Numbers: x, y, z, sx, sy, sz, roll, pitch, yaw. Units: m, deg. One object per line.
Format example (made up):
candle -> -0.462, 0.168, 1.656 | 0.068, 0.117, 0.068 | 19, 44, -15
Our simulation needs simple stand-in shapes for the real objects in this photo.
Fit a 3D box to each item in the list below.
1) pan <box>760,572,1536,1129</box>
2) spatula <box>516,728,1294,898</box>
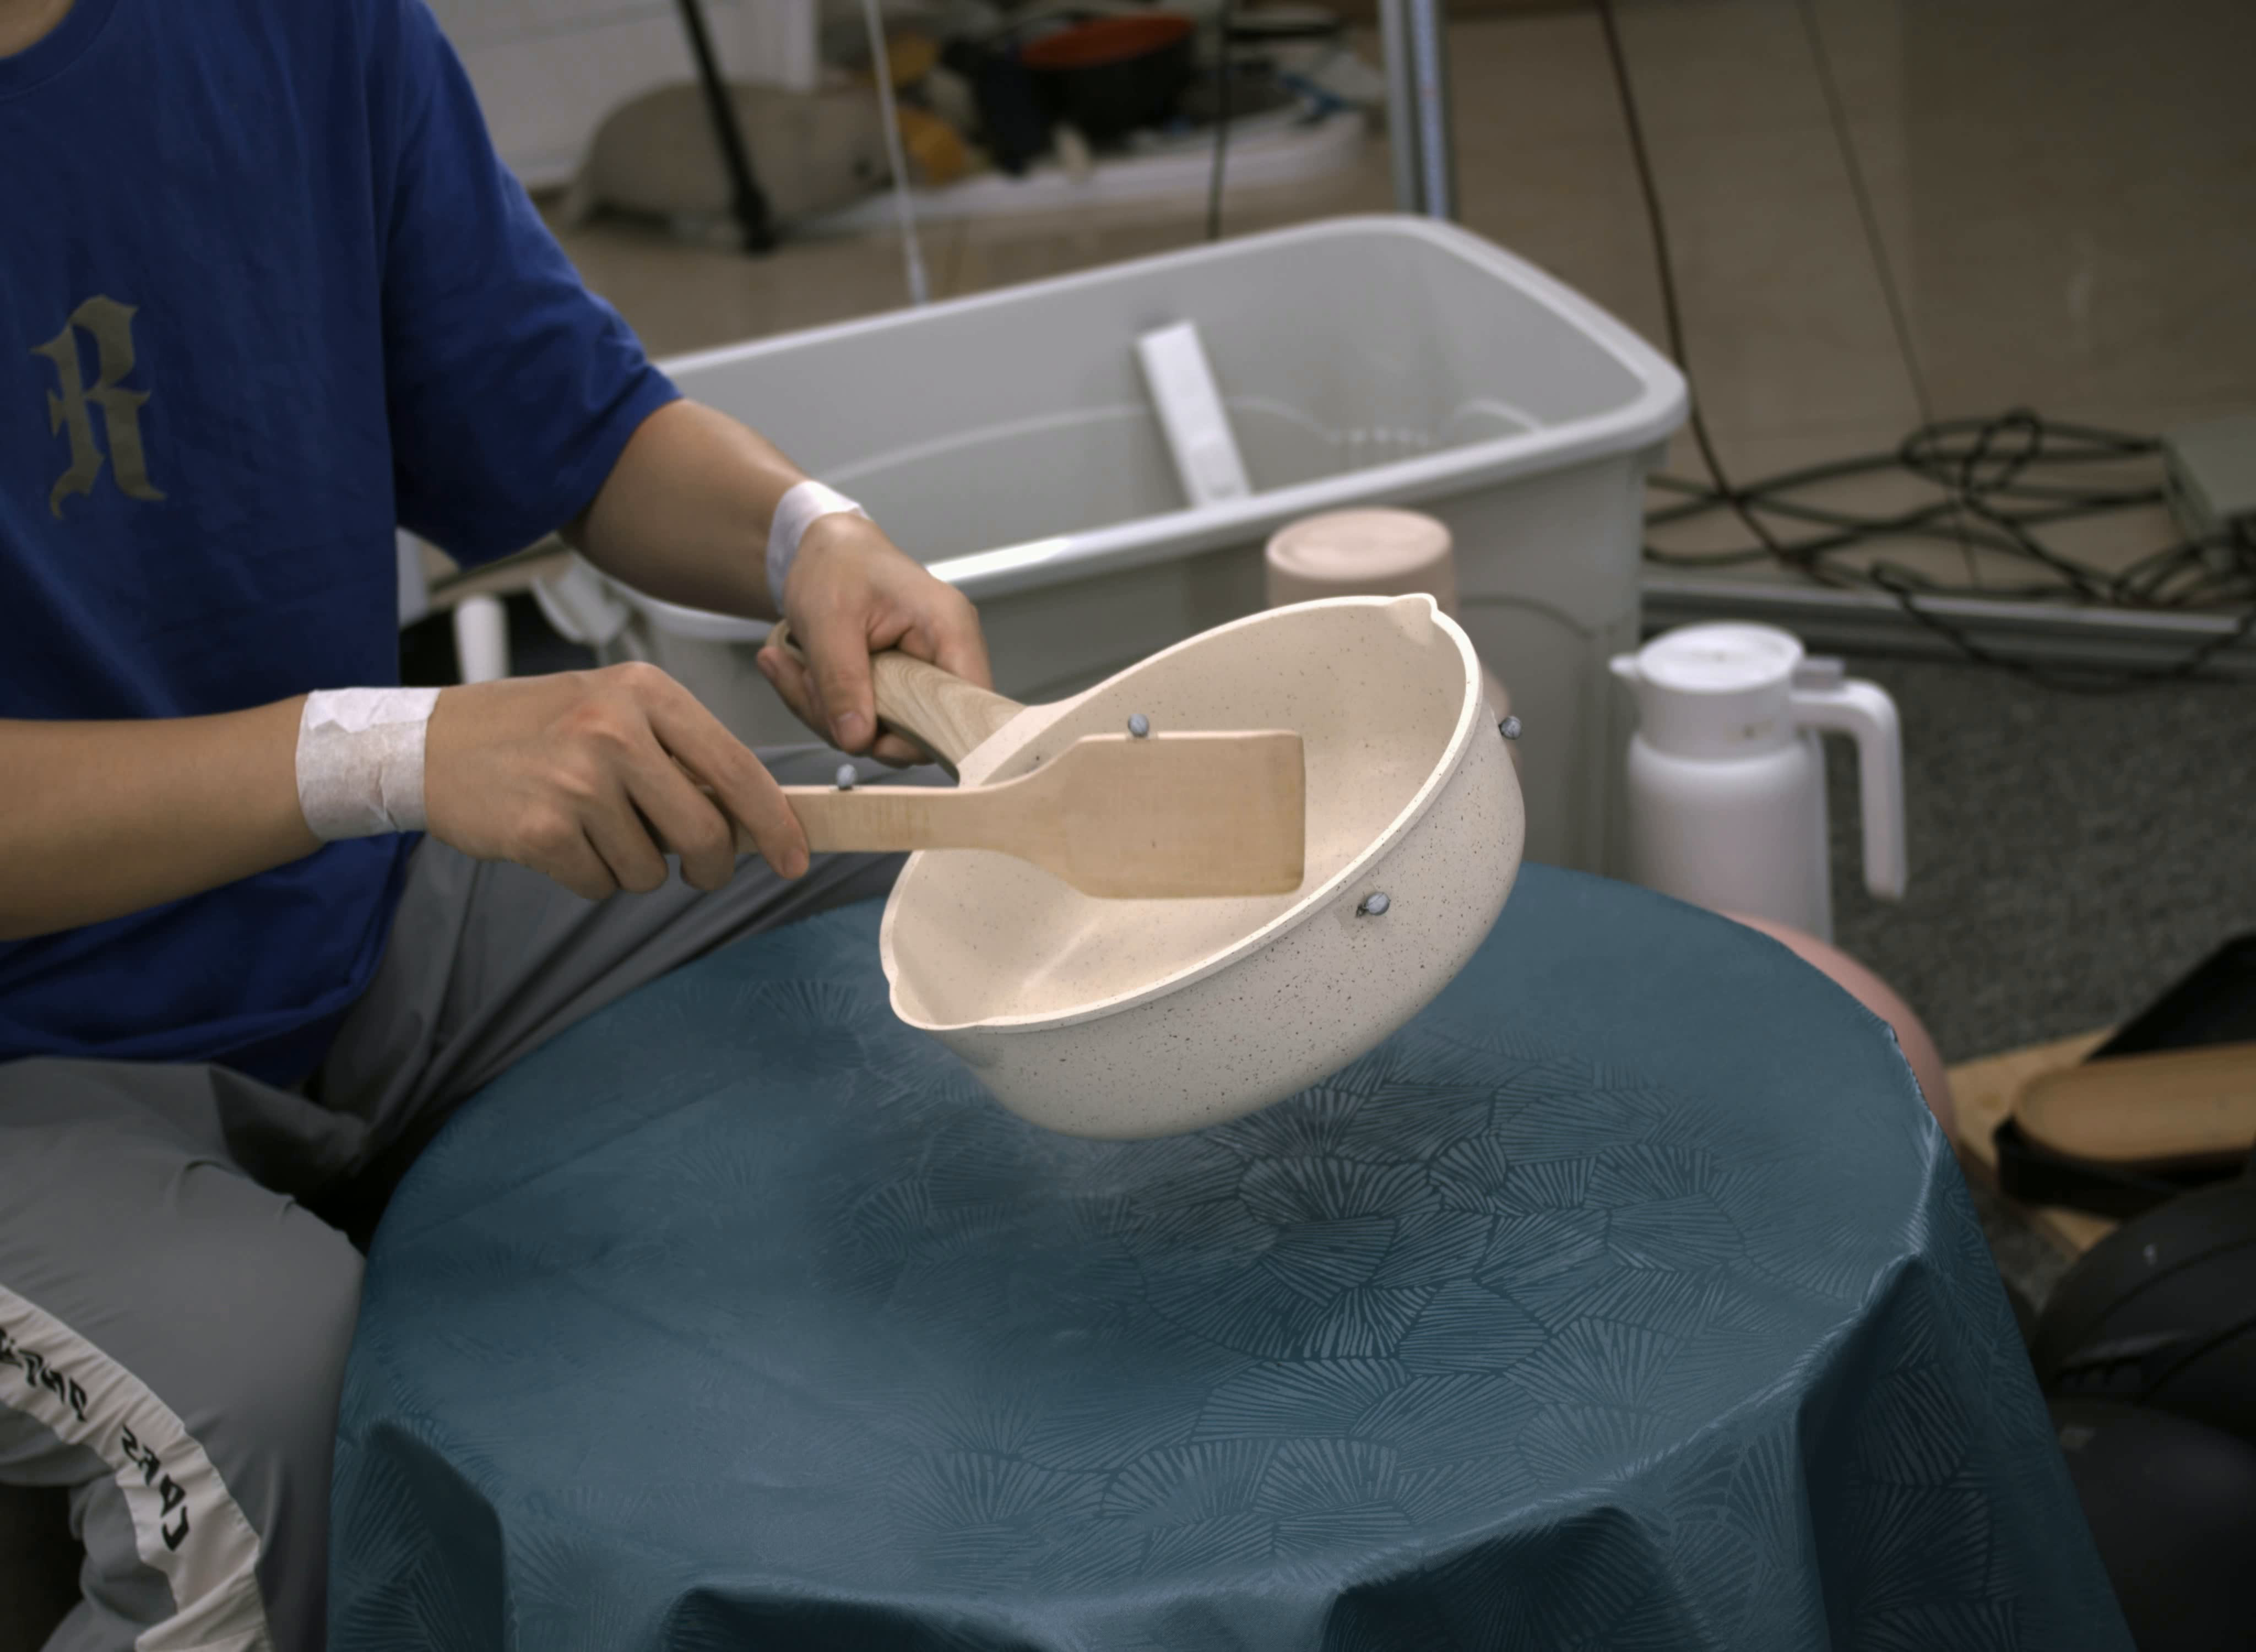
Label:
pan -> -0.011, -0.004, 2.196 | 0.261, 0.103, 0.432 | -42, 28, -17
spatula -> -0.084, -0.005, 2.122 | 0.292, 0.073, 0.010 | 0, 32, 1
